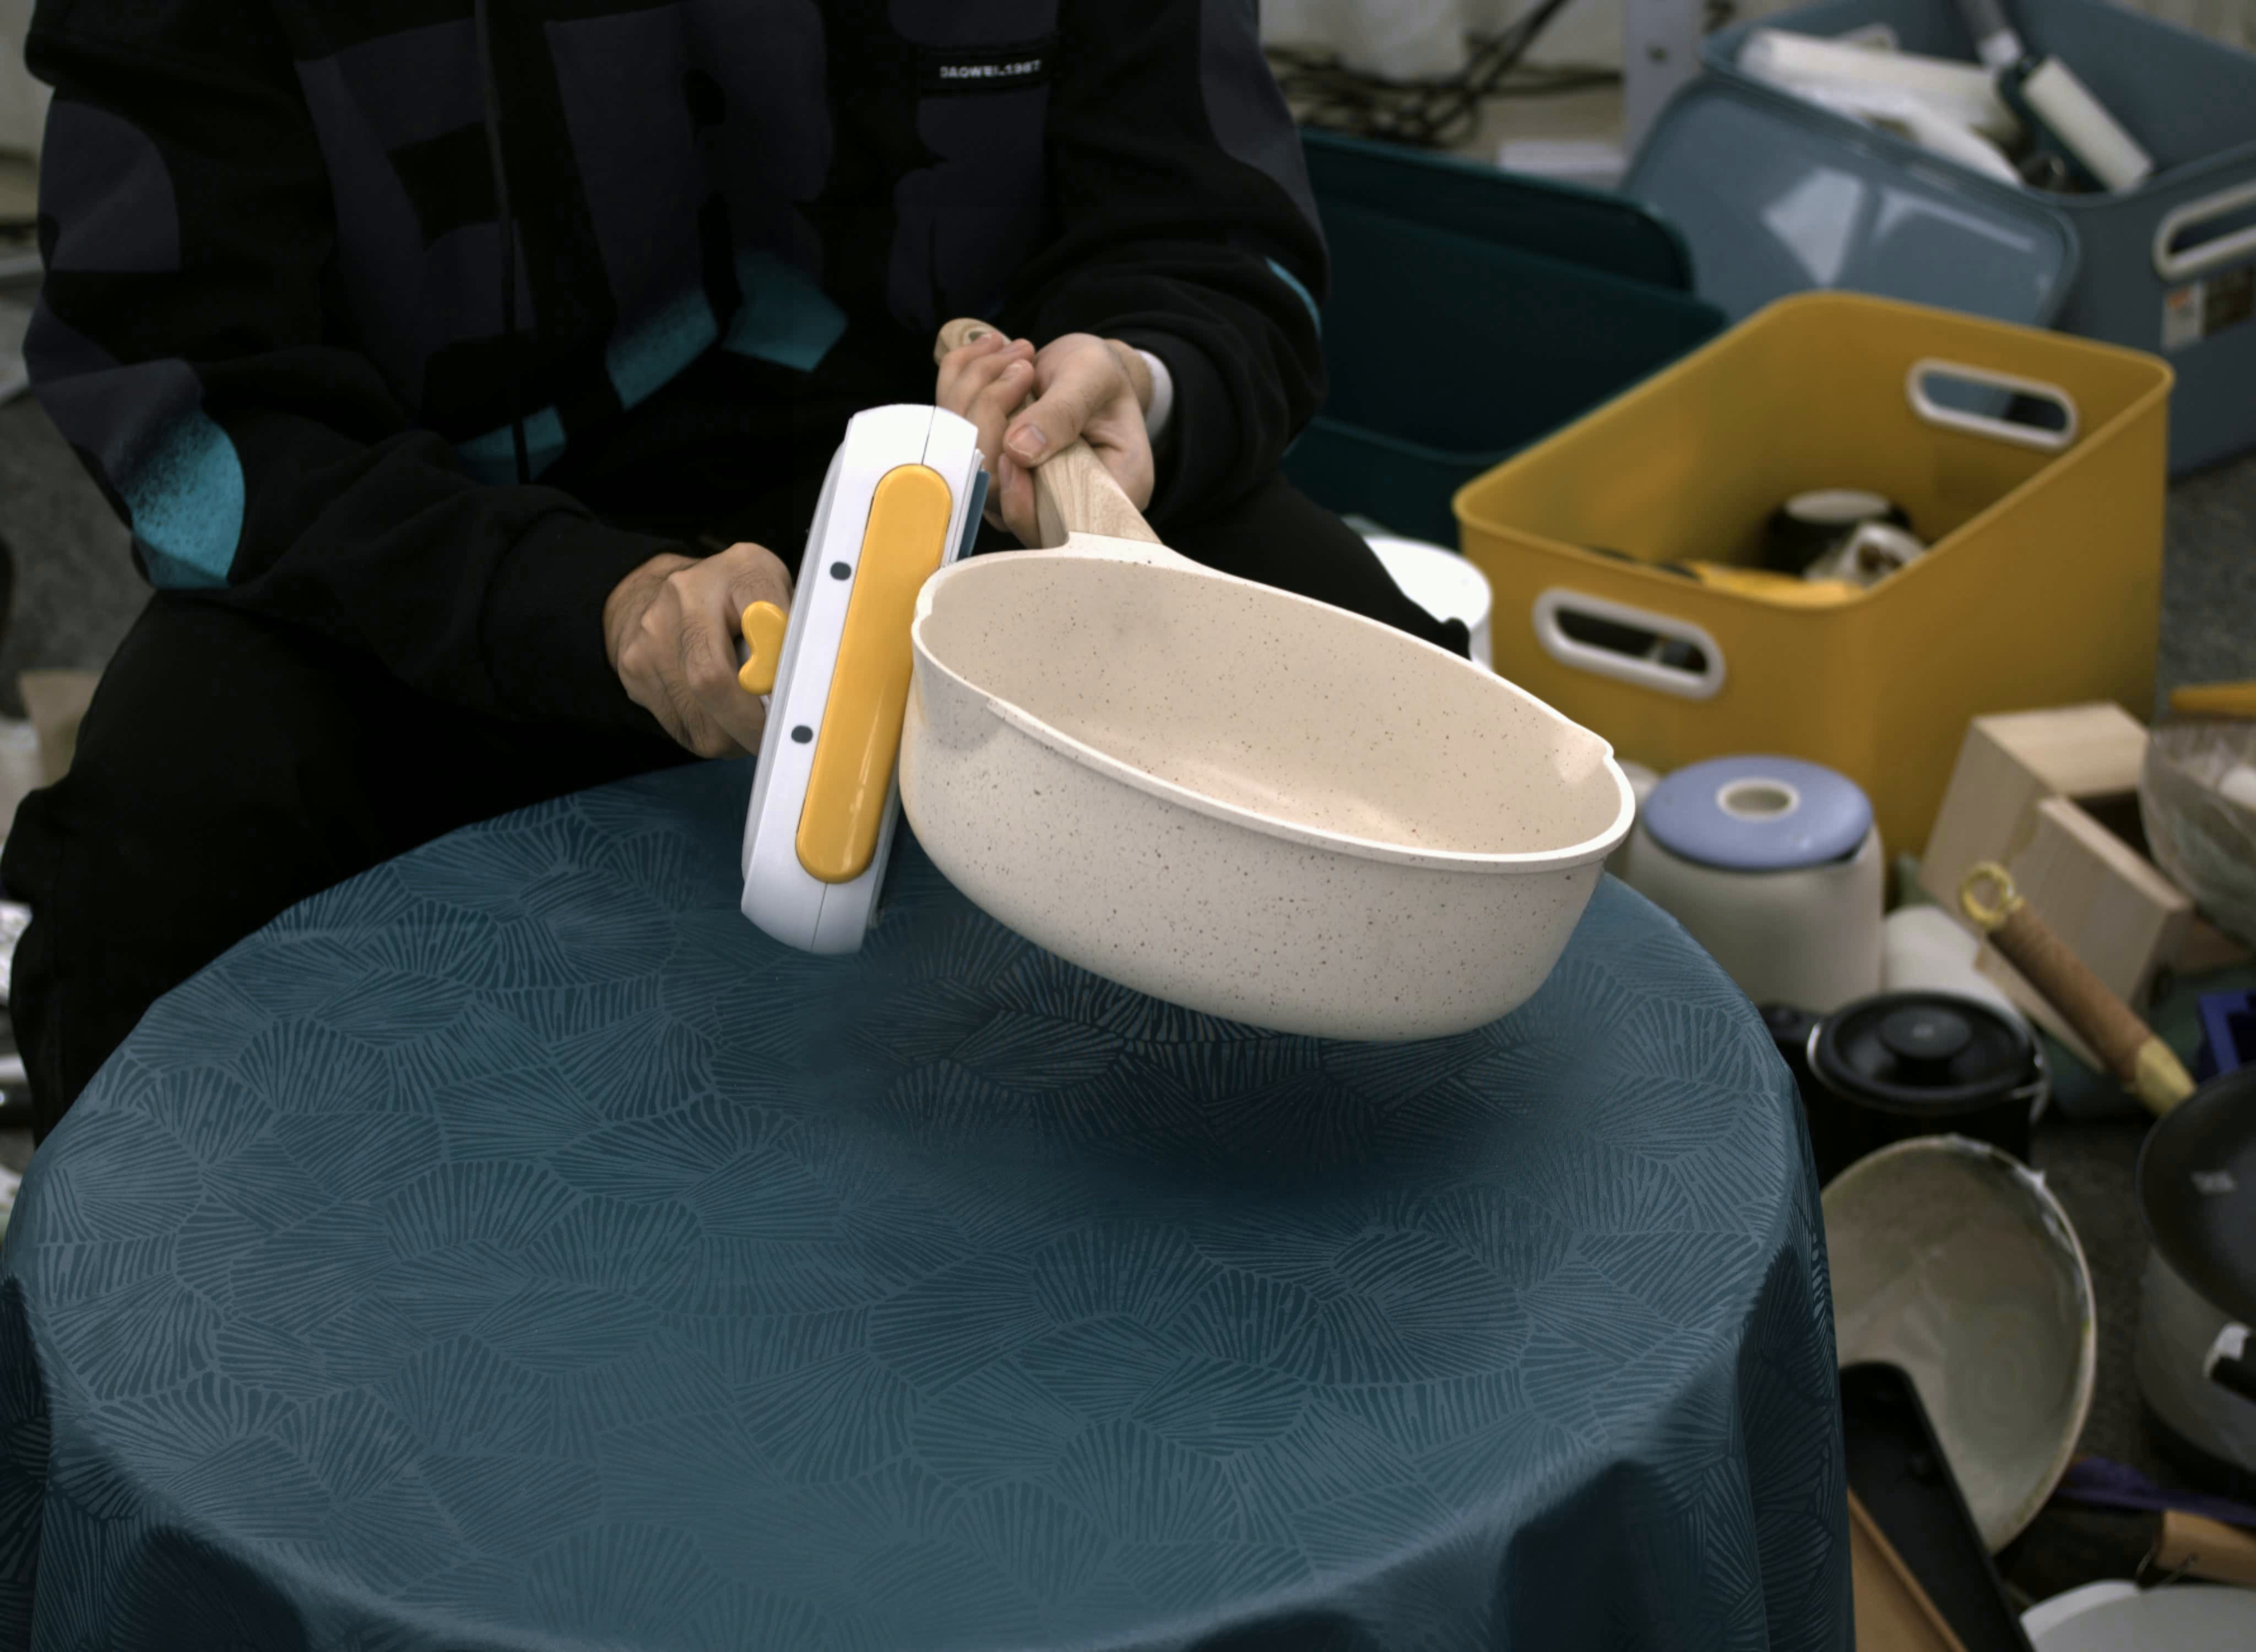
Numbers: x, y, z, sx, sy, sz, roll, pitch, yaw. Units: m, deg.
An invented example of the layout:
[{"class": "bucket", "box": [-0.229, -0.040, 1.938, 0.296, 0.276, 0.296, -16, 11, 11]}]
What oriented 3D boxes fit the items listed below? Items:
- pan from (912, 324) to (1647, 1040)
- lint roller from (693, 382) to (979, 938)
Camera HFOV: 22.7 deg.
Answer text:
[{"class": "pan", "box": [0.009, -0.052, 1.964, 0.263, 0.101, 0.438, 4, 23, -27]}, {"class": "lint roller", "box": [-0.111, -0.054, 1.990, 0.074, 0.194, 0.191, 9, -7, -12]}]
